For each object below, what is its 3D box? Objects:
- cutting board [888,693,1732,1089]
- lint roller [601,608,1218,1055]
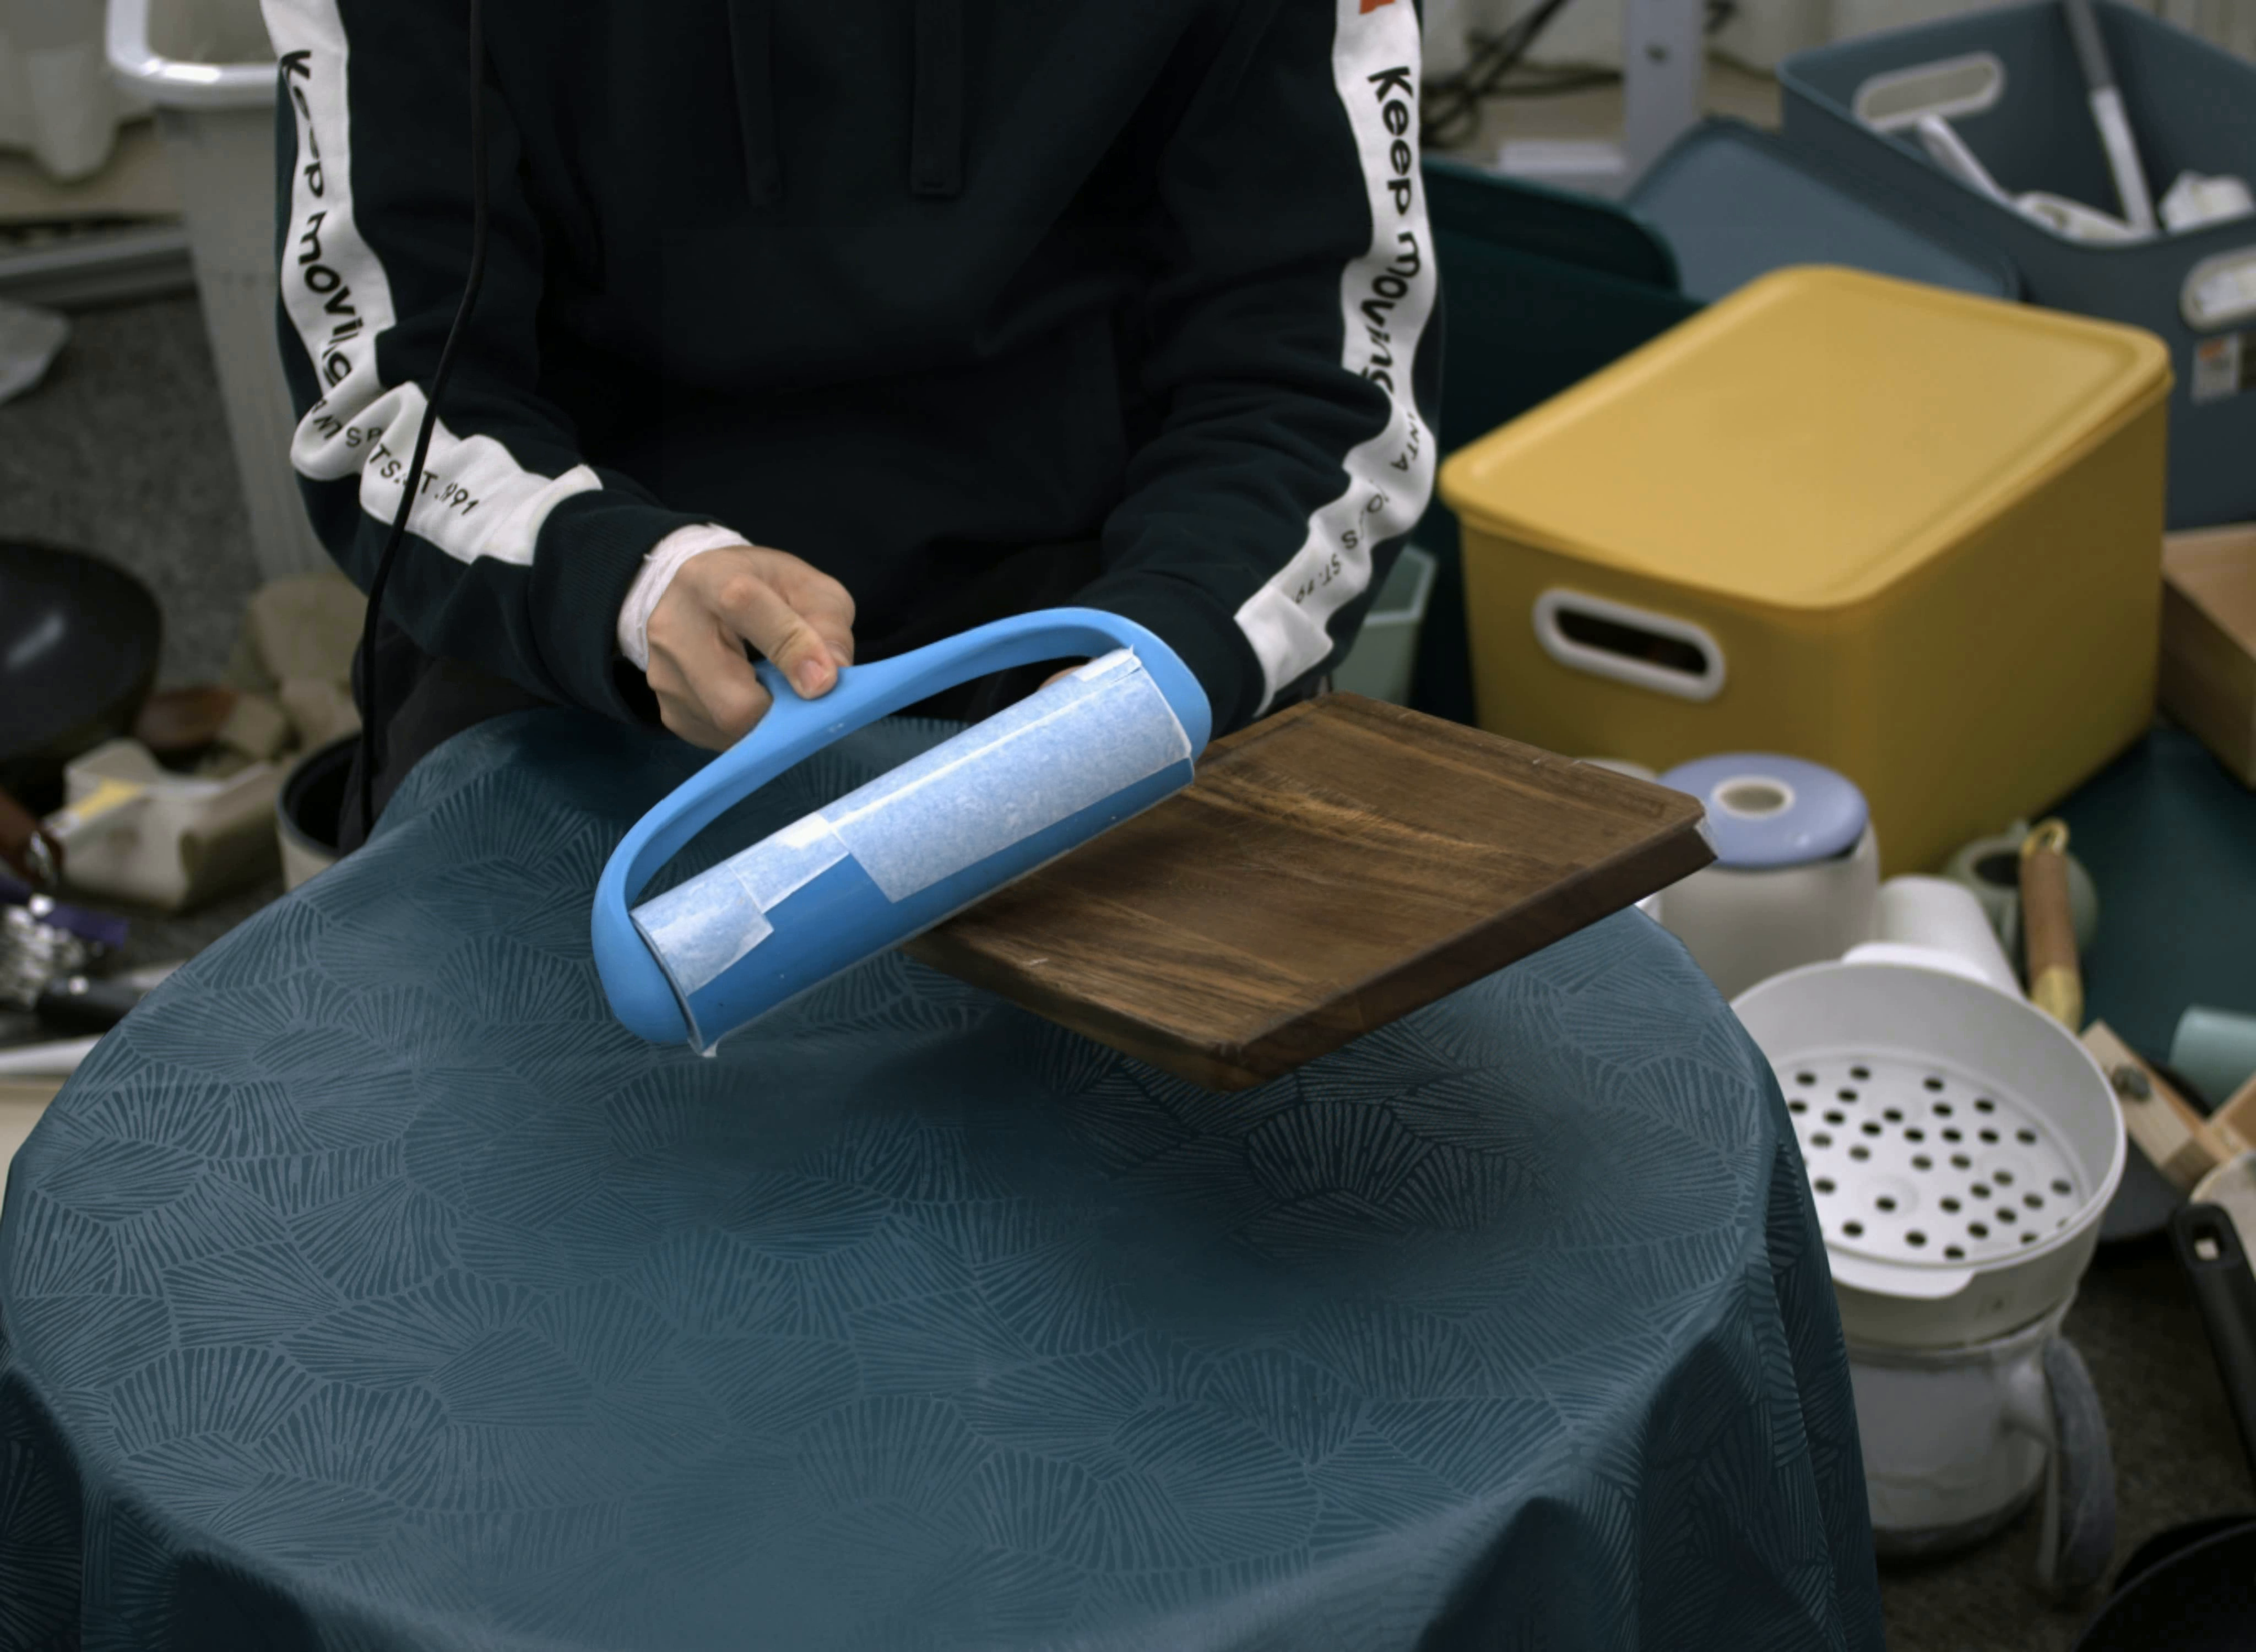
[{"bbox_3d":[0.030,0.009,1.910,0.202,0.023,0.351,-25,20,-23],"label":"cutting board"},{"bbox_3d":[-0.100,-0.022,1.933,0.230,0.067,0.181,-31,42,-15],"label":"lint roller"}]
